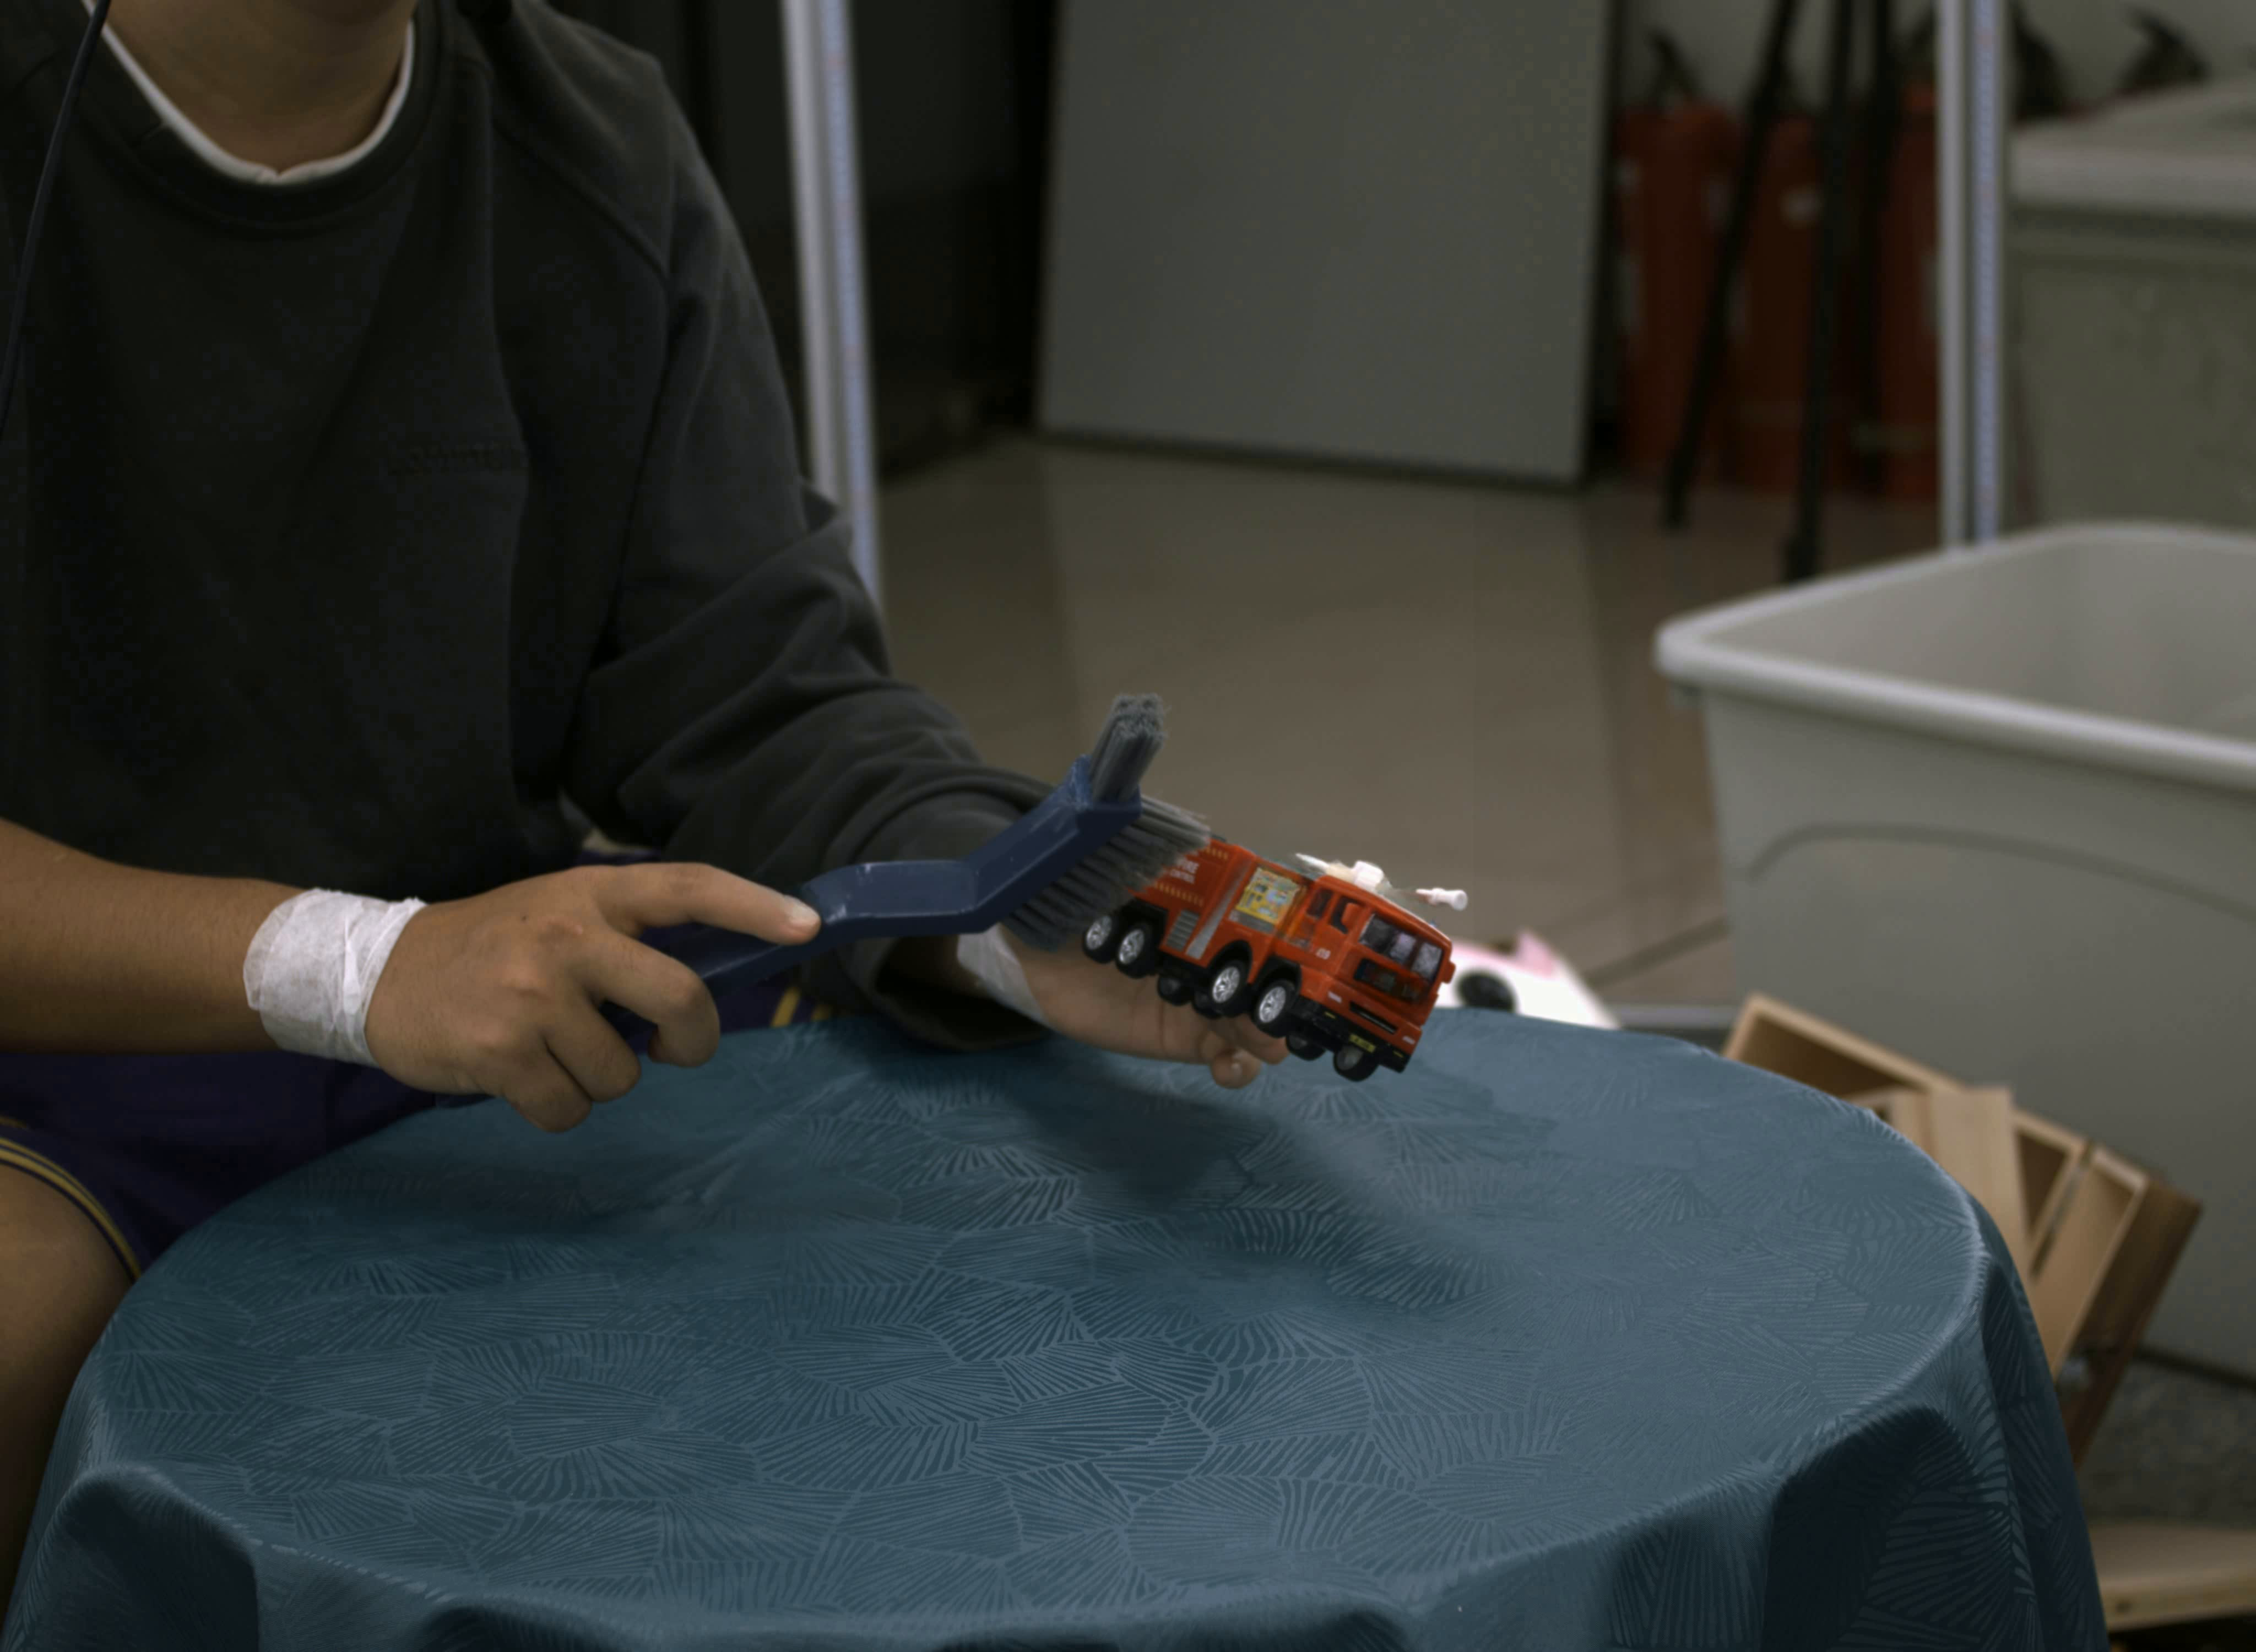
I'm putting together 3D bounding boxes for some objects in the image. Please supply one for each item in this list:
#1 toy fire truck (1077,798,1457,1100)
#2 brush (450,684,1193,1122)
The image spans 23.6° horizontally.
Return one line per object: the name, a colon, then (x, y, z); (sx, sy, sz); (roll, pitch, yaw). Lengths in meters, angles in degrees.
toy fire truck: (0.045, 0.037, 1.741); (0.053, 0.071, 0.170); (30, -6, -30)
brush: (-0.109, 0.027, 1.743); (0.272, 0.095, 0.034); (-18, 47, 14)
